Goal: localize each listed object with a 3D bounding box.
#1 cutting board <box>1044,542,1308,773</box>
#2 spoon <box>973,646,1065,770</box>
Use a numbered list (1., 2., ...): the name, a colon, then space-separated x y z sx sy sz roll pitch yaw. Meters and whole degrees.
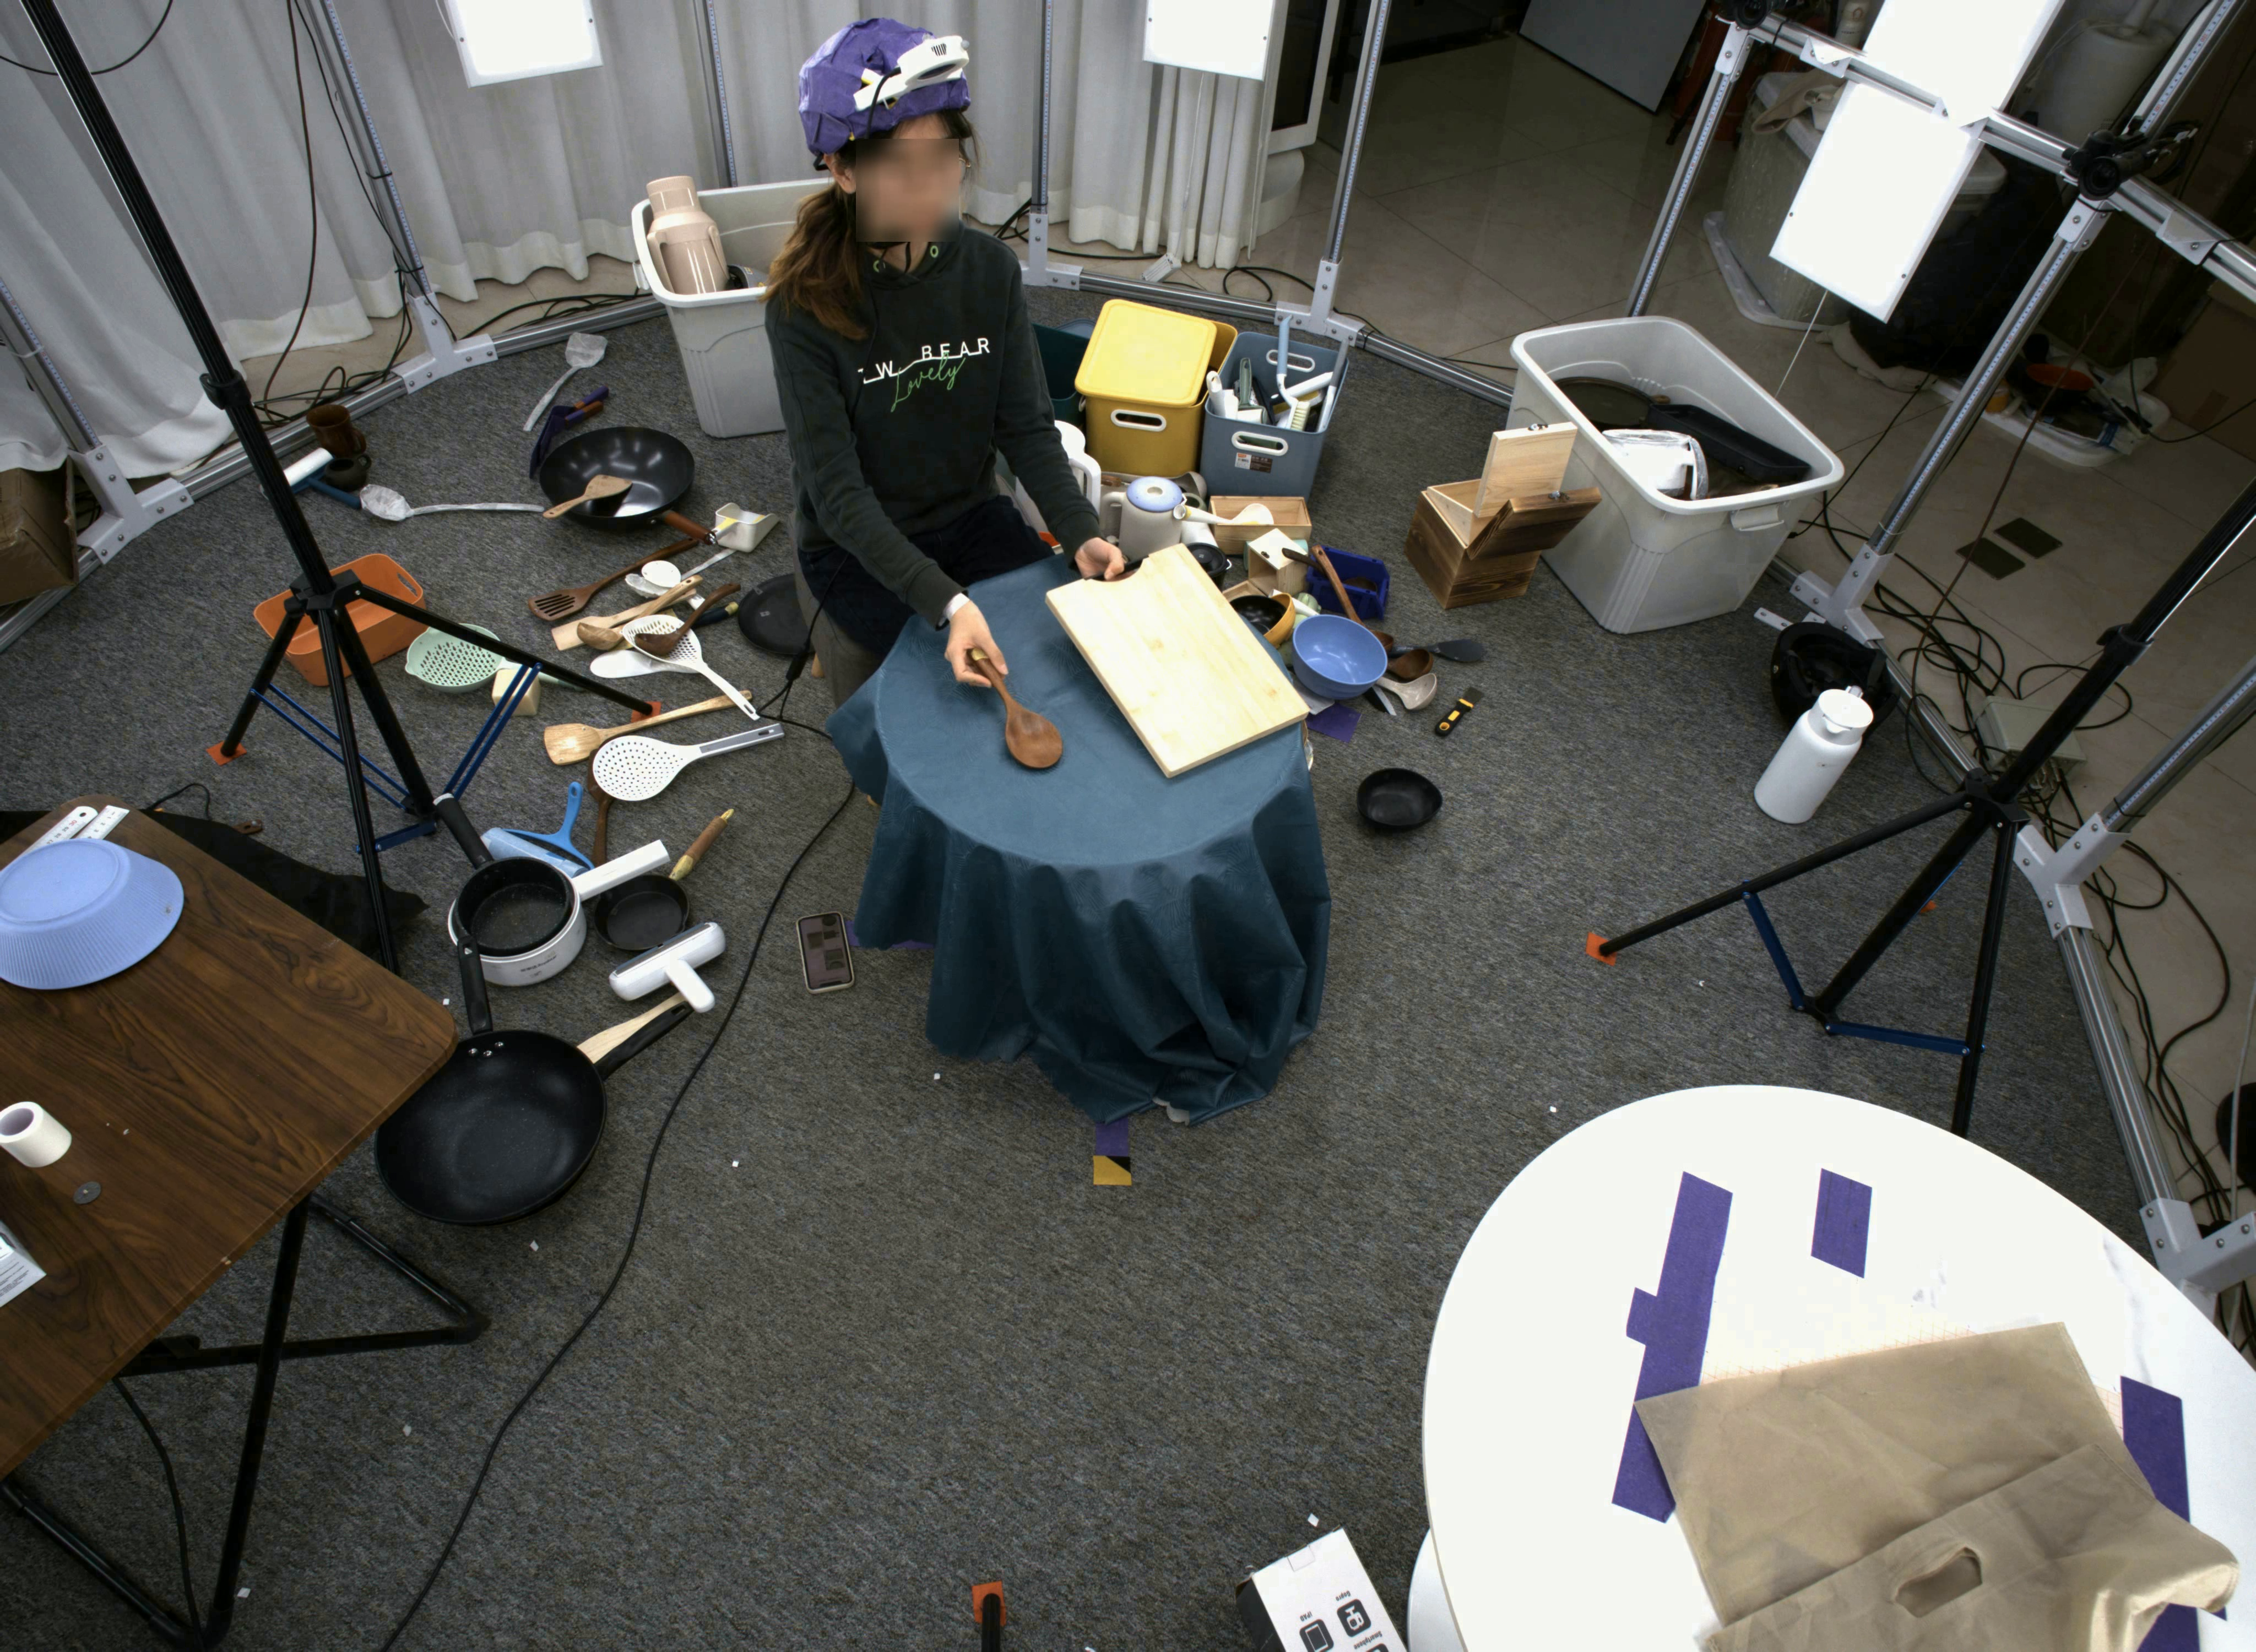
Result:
1. cutting board: 0.066 -0.250 1.855 0.252 0.023 0.354 -24 65 -23
2. spoon: -0.158 -0.166 1.781 0.076 0.017 0.219 -24 69 -19
